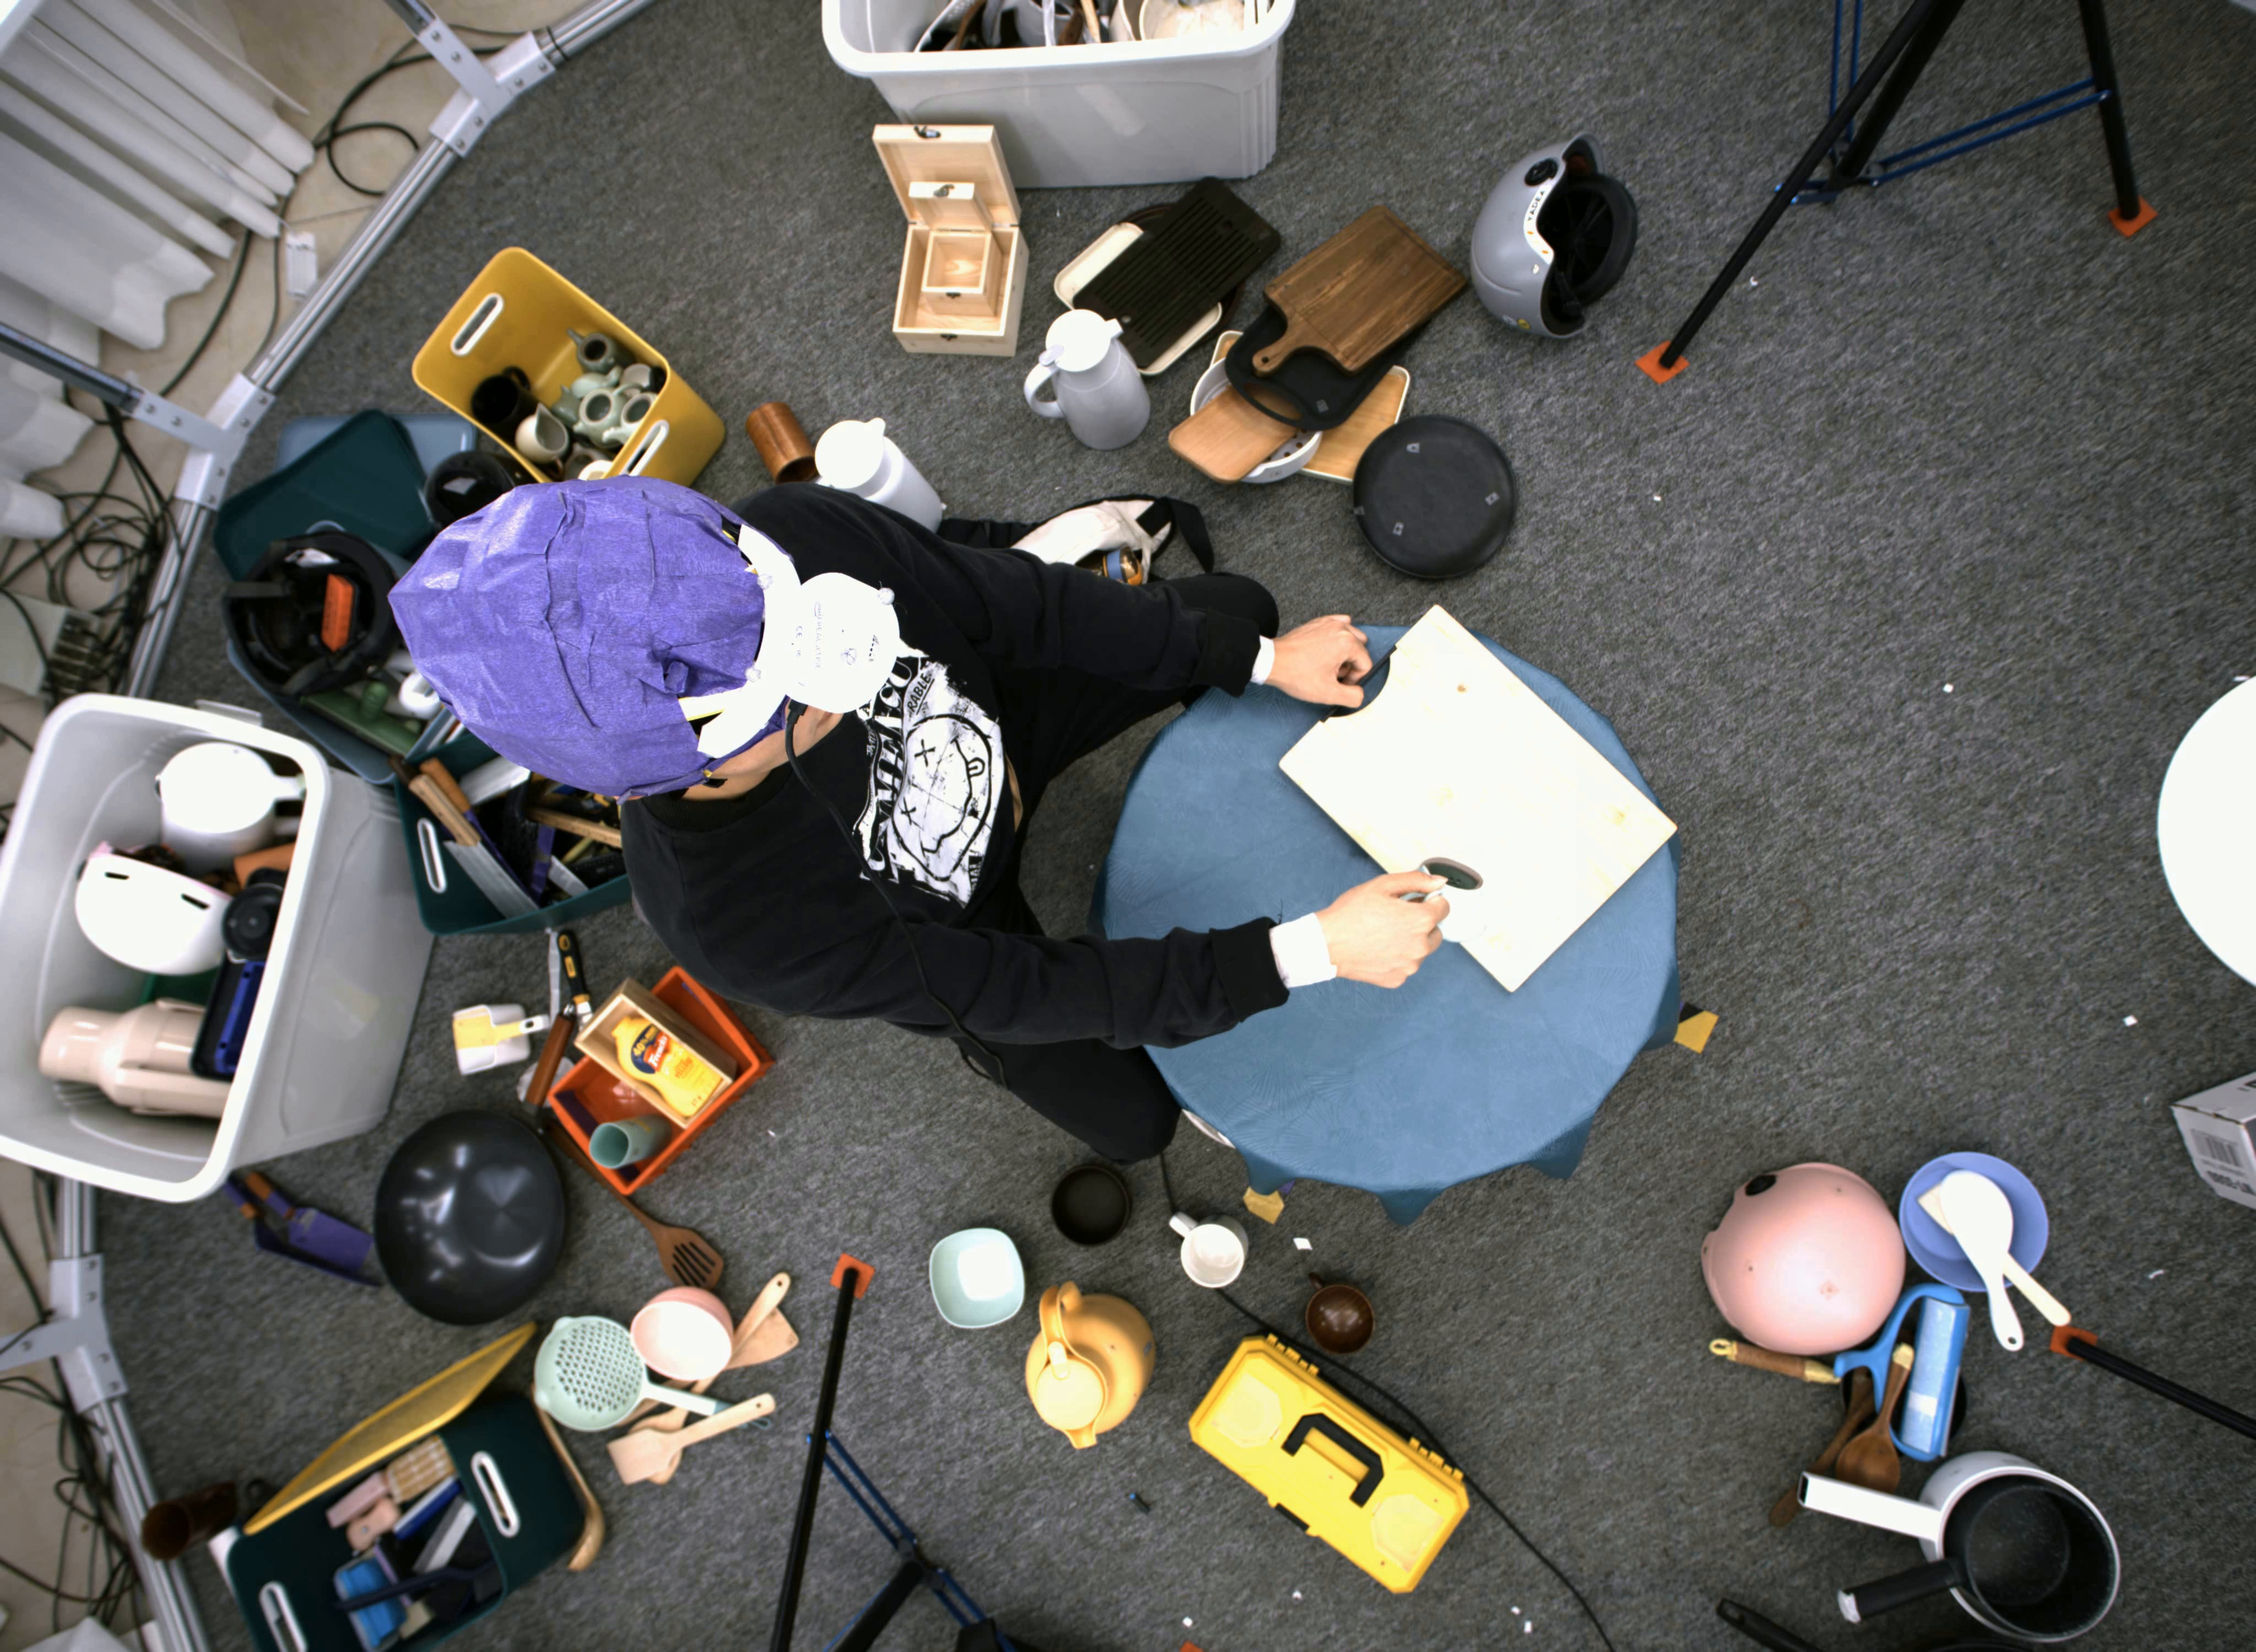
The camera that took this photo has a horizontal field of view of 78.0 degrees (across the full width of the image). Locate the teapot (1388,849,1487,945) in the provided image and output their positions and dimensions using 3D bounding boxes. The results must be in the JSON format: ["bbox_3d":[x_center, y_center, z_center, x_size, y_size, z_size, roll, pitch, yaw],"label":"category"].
[{"bbox_3d":[0.295,0.068,1.297,0.096,0.134,0.063,27,120,18],"label":"teapot"}]

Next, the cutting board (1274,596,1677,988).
[{"bbox_3d":[0.358,-0.037,1.437,0.347,0.023,0.252,44,95,8],"label":"cutting board"}]
